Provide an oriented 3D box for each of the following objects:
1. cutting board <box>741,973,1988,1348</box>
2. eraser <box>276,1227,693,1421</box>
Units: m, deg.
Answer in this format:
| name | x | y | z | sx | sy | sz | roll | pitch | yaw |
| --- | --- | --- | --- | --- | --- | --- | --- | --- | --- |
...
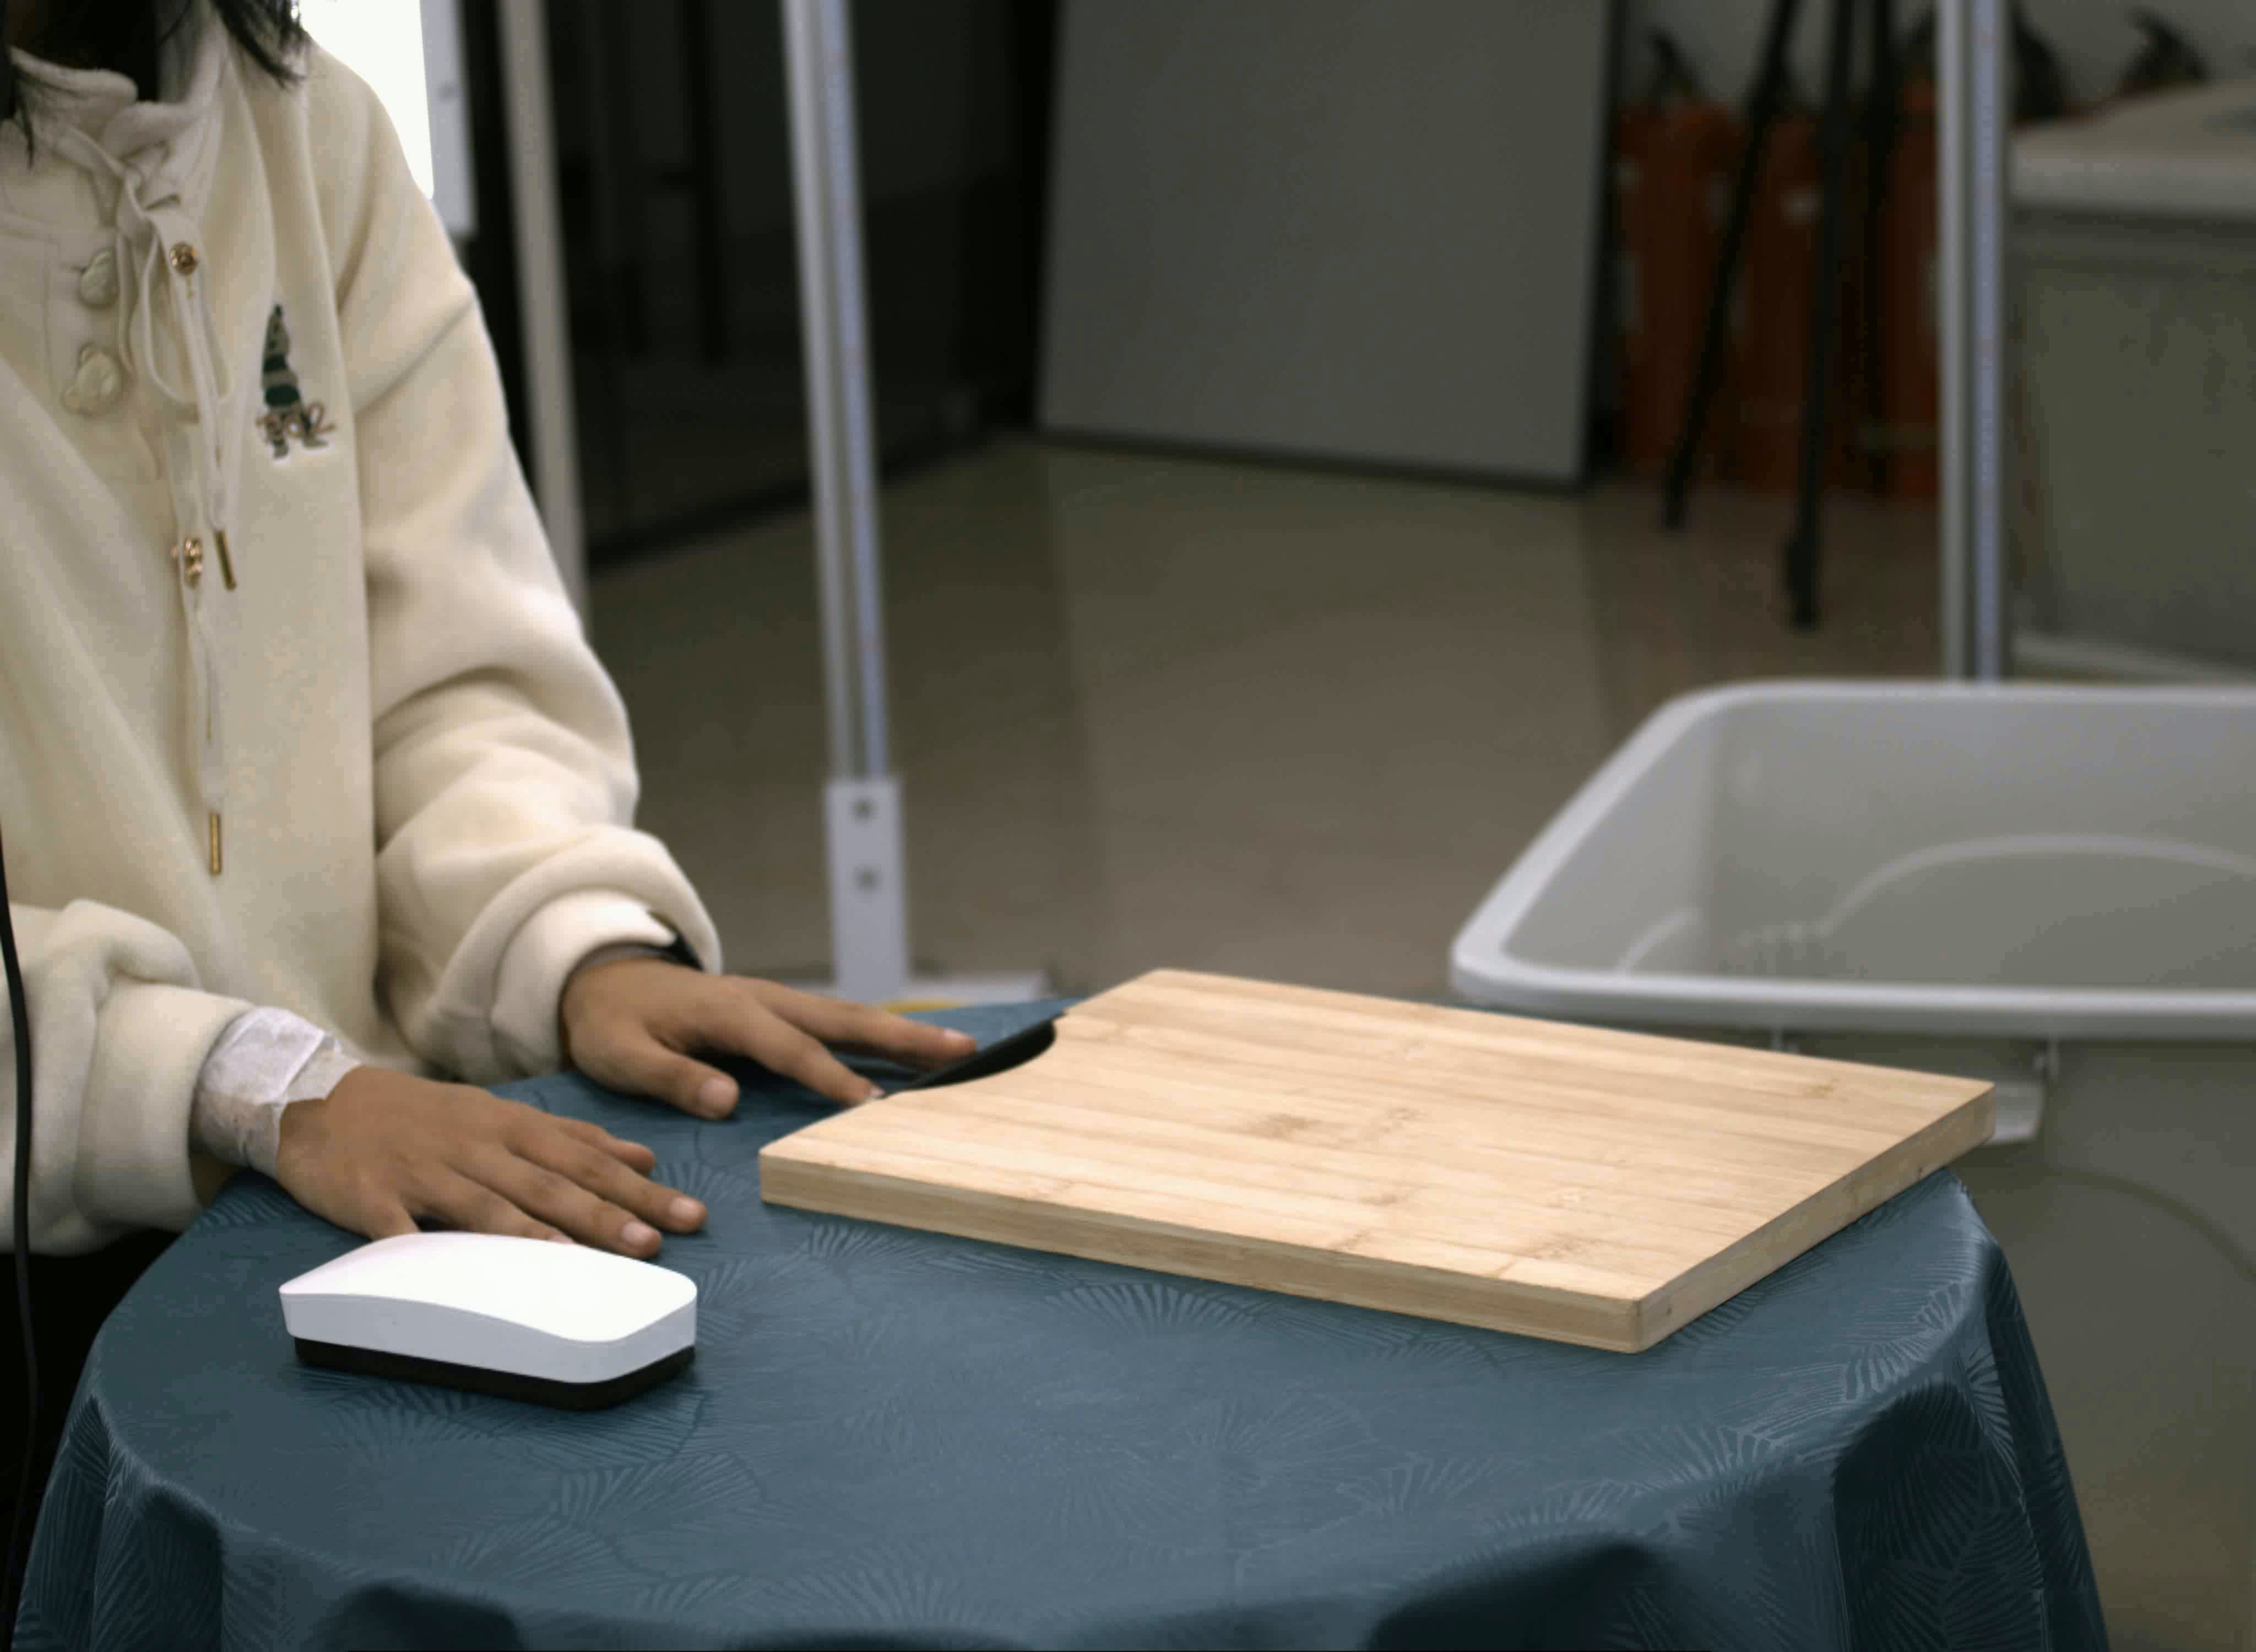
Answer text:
| name | x | y | z | sx | sy | sz | roll | pitch | yaw |
| --- | --- | --- | --- | --- | --- | --- | --- | --- | --- |
| cutting board | 0.077 | 0.105 | 1.779 | 0.351 | 0.024 | 0.246 | 6 | 17 | 35 |
| eraser | -0.195 | 0.150 | 1.648 | 0.132 | 0.035 | 0.062 | 6 | 17 | 34 |
